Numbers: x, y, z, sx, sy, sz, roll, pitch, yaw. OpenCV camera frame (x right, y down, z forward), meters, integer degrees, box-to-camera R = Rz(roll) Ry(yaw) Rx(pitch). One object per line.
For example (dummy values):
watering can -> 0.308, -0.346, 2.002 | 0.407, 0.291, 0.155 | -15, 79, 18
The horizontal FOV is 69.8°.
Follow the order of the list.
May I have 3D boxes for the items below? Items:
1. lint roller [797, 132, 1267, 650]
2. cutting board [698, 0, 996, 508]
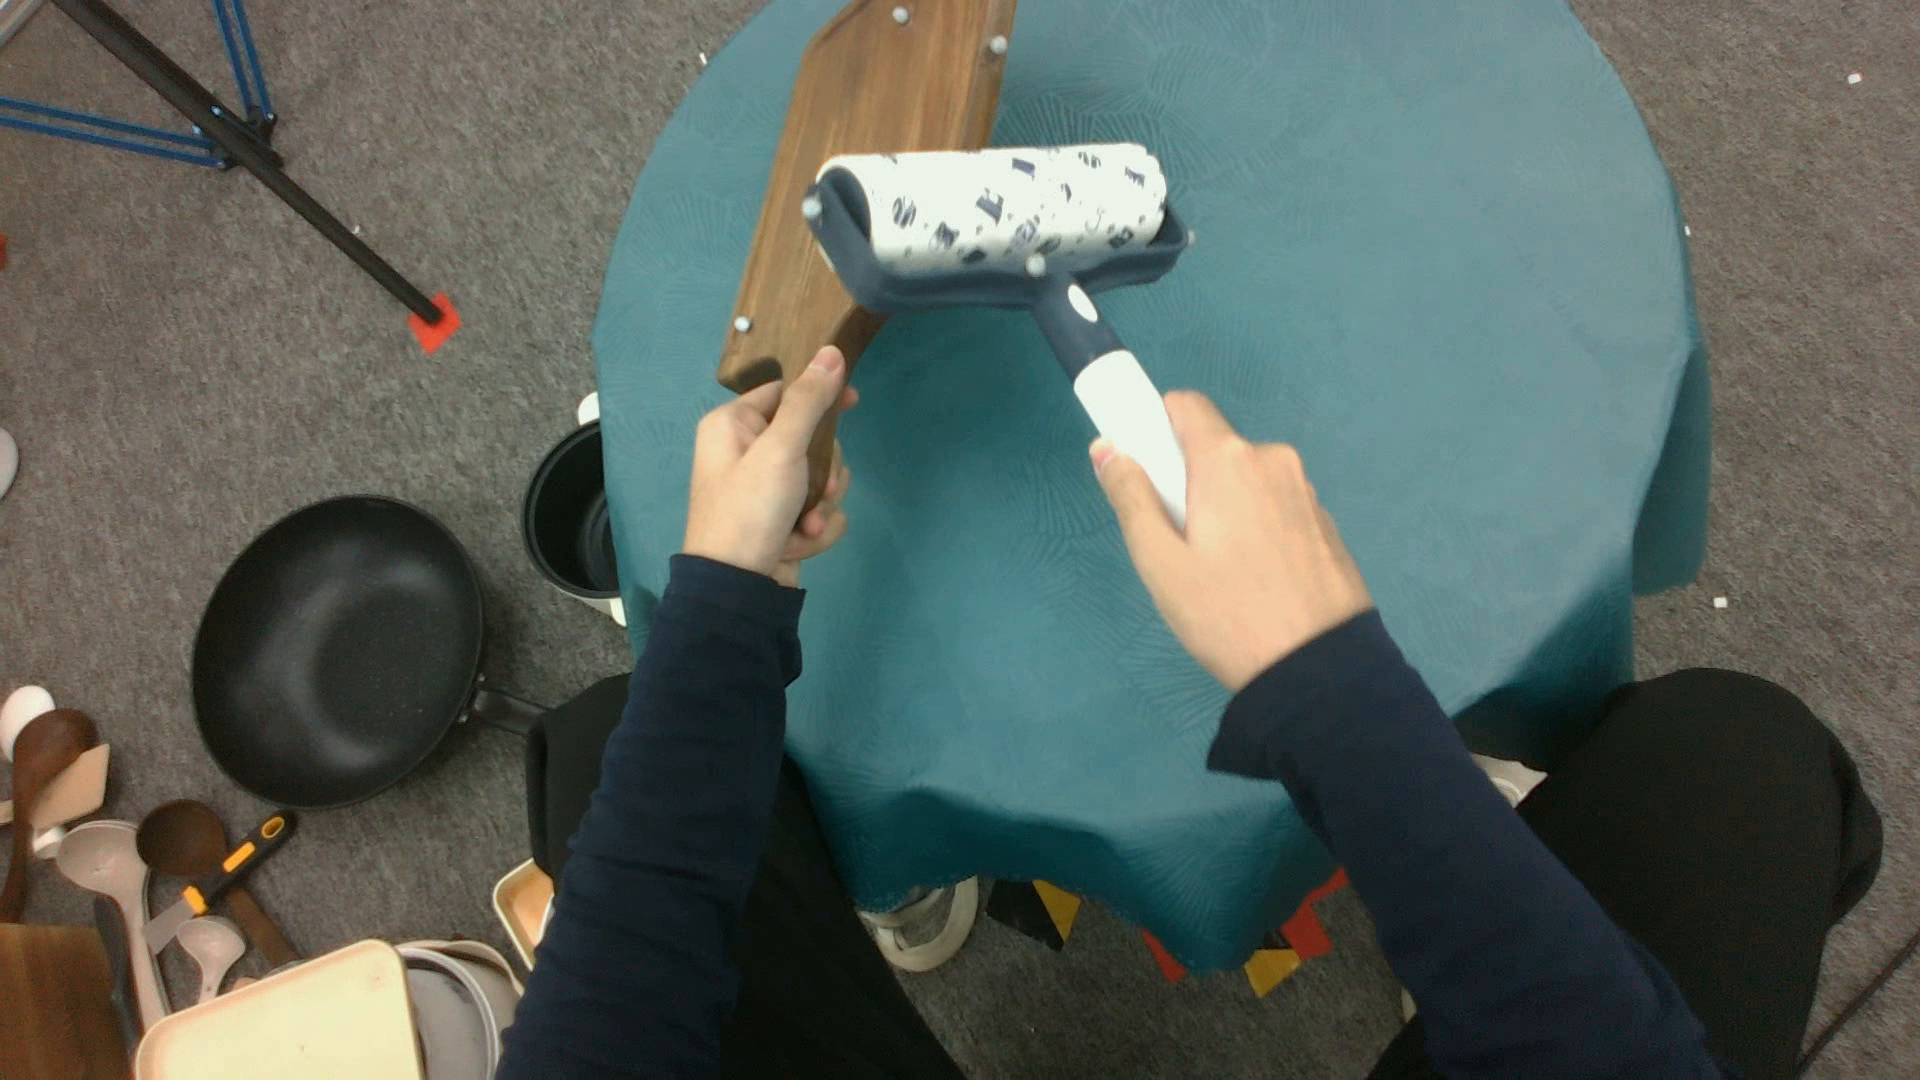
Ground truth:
lint roller -> 0.059, -0.069, 0.559 | 0.177, 0.050, 0.247 | -15, 66, -38
cutting board -> -0.062, -0.175, 0.703 | 0.200, 0.023, 0.353 | -20, 52, 46
